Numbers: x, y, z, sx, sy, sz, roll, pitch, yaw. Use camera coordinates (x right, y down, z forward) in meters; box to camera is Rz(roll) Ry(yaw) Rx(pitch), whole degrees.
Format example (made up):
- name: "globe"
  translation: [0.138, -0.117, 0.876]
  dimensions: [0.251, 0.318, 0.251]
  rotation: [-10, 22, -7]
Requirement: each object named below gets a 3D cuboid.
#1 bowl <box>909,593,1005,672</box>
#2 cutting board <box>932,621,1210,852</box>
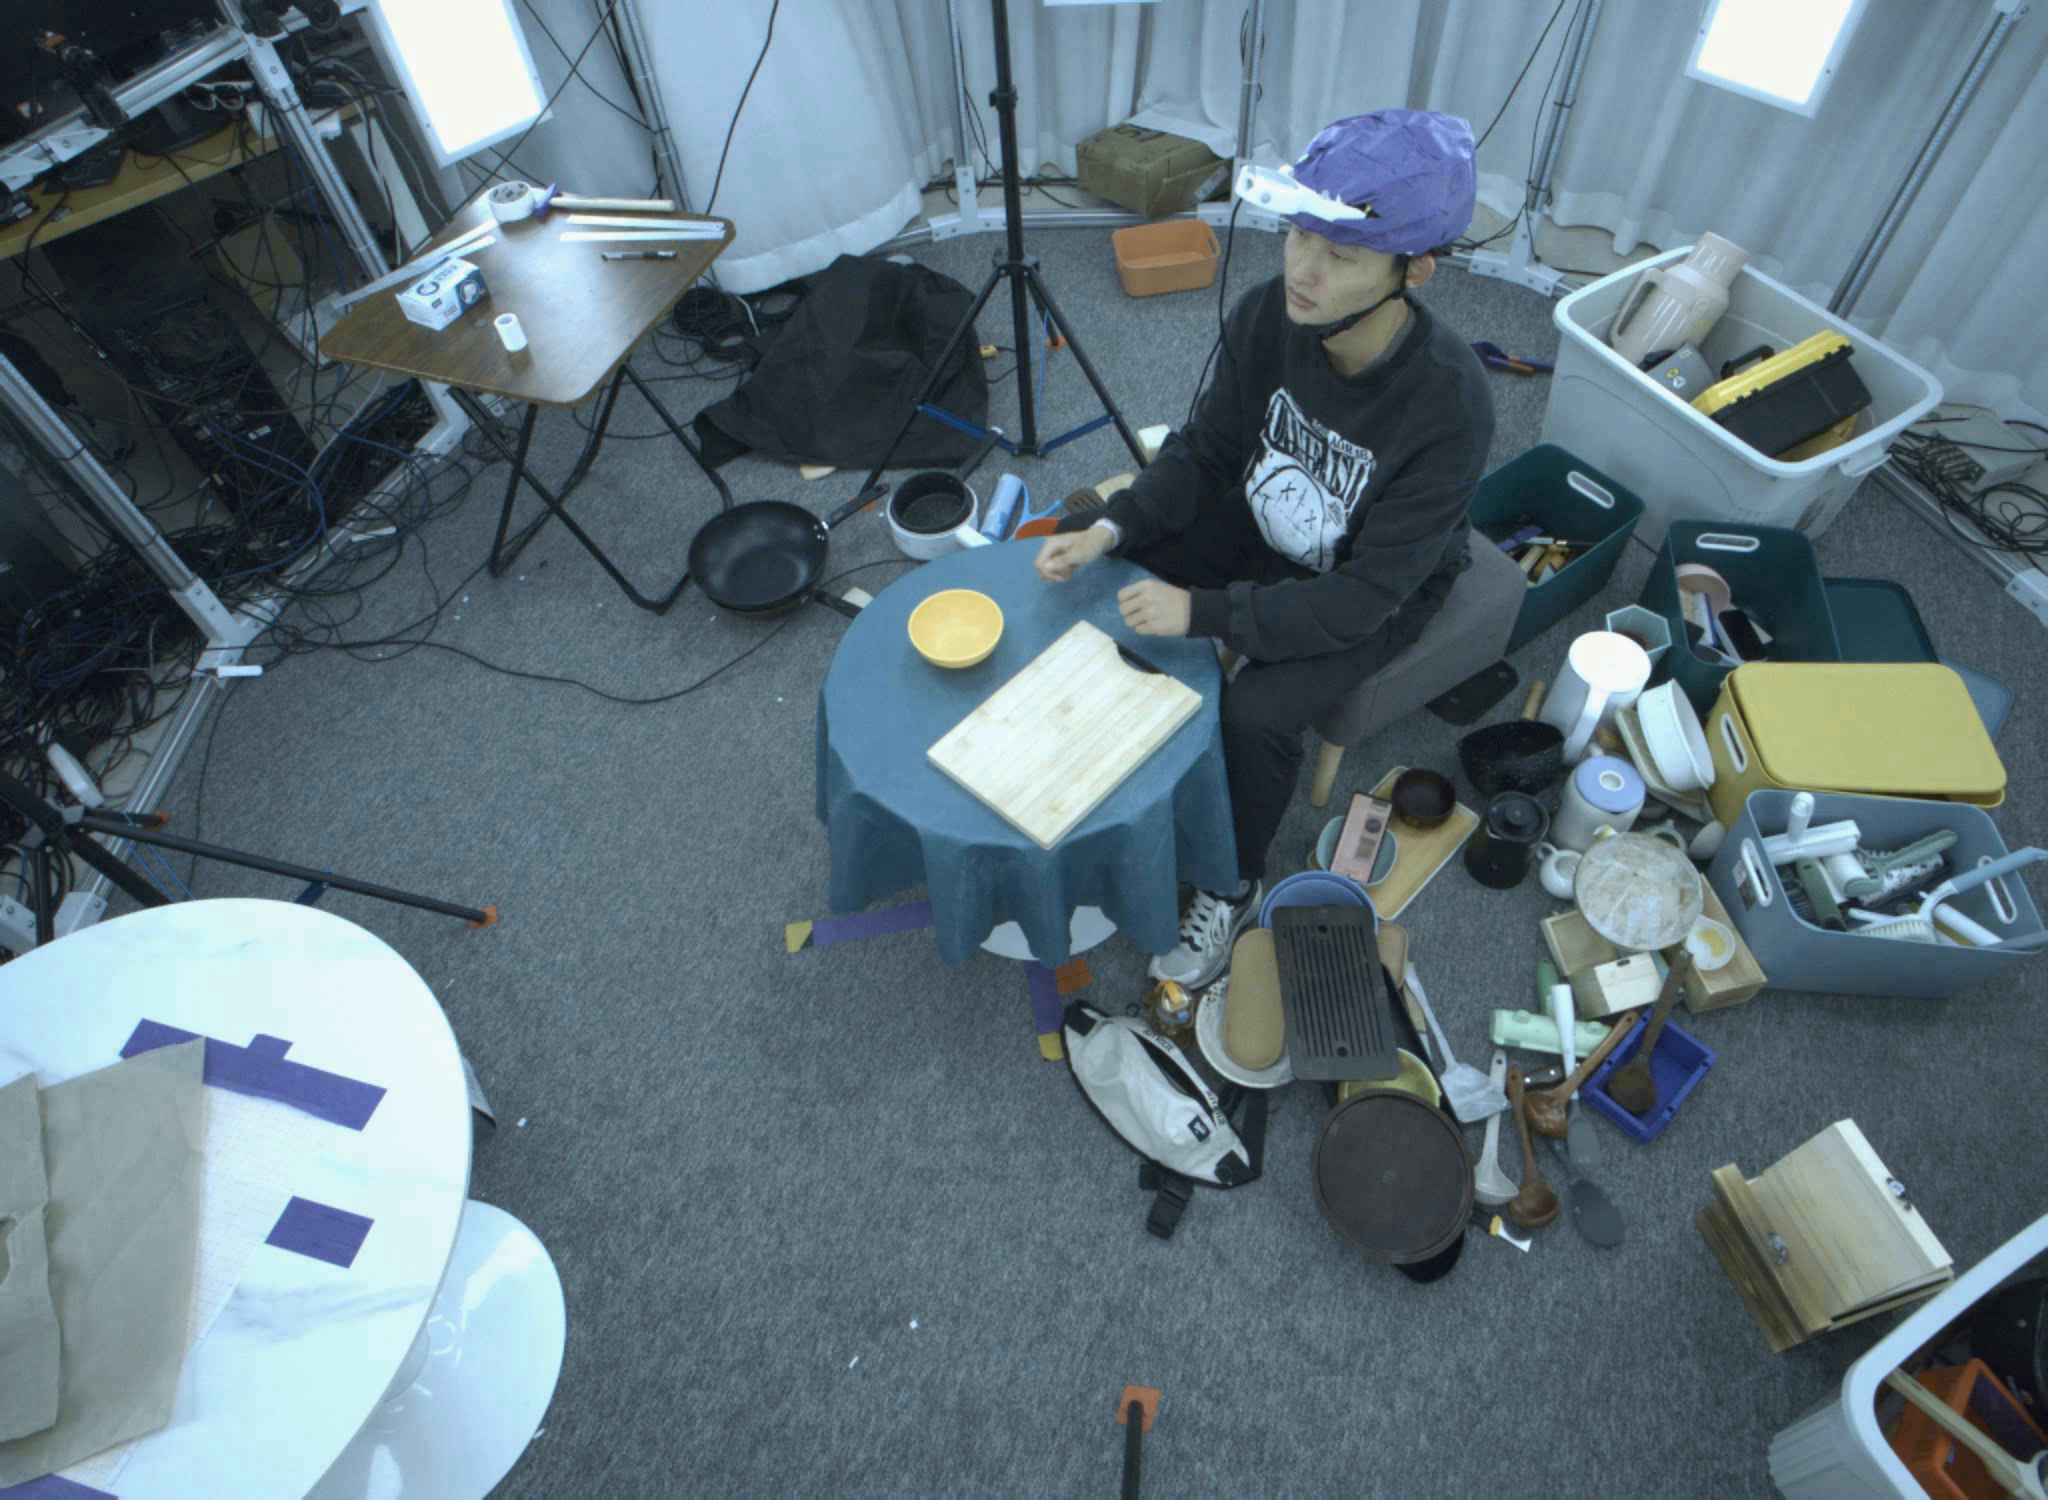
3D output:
- name: "bowl"
  translation: [-0.102, -0.170, 1.886]
  dimensions: [0.145, 0.060, 0.144]
  rotation: [1, 55, -1]
- name: "cutting board"
  translation: [0.069, -0.030, 1.807]
  dimensions: [0.246, 0.024, 0.351]
  rotation: [36, 63, 23]
